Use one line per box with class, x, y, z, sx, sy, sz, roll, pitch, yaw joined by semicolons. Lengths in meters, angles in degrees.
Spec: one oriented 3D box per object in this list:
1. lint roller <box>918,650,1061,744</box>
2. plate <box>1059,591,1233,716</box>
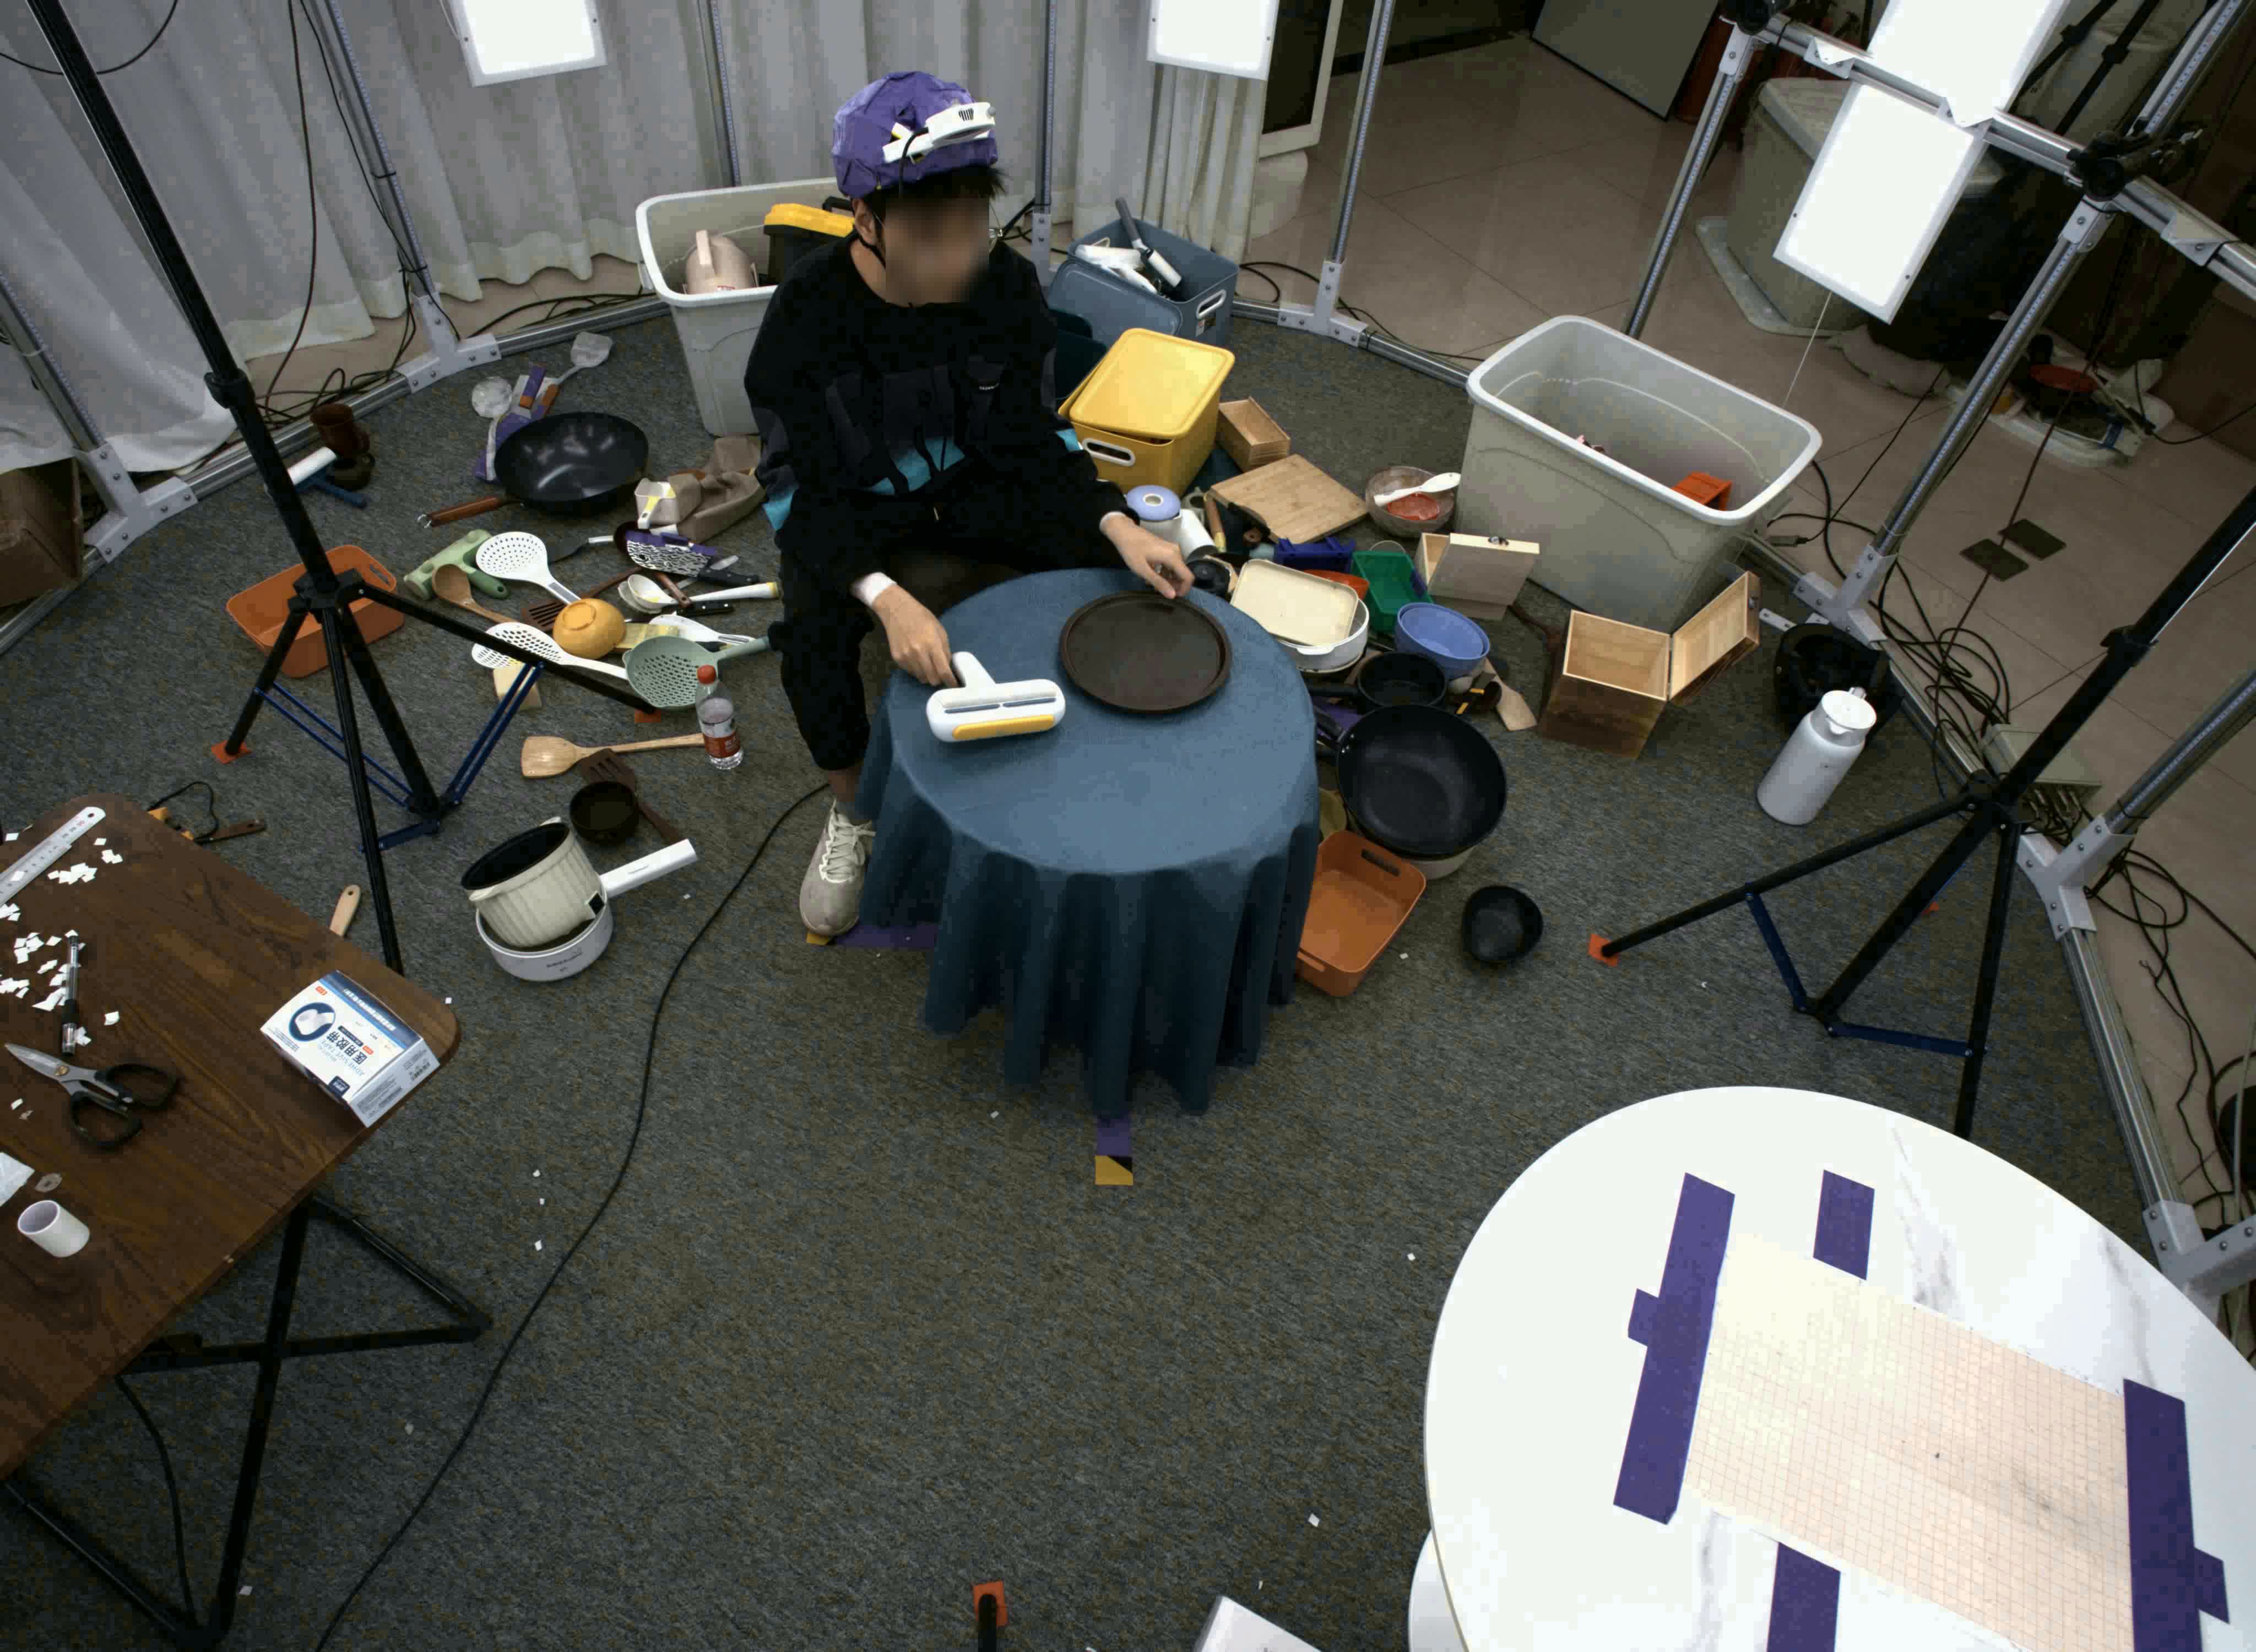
lint roller;-0.205;-0.192;1.778;0.192;0.072;0.197;-9;49;-18
plate;0.025;-0.254;1.875;0.254;0.028;0.261;1;48;-1
